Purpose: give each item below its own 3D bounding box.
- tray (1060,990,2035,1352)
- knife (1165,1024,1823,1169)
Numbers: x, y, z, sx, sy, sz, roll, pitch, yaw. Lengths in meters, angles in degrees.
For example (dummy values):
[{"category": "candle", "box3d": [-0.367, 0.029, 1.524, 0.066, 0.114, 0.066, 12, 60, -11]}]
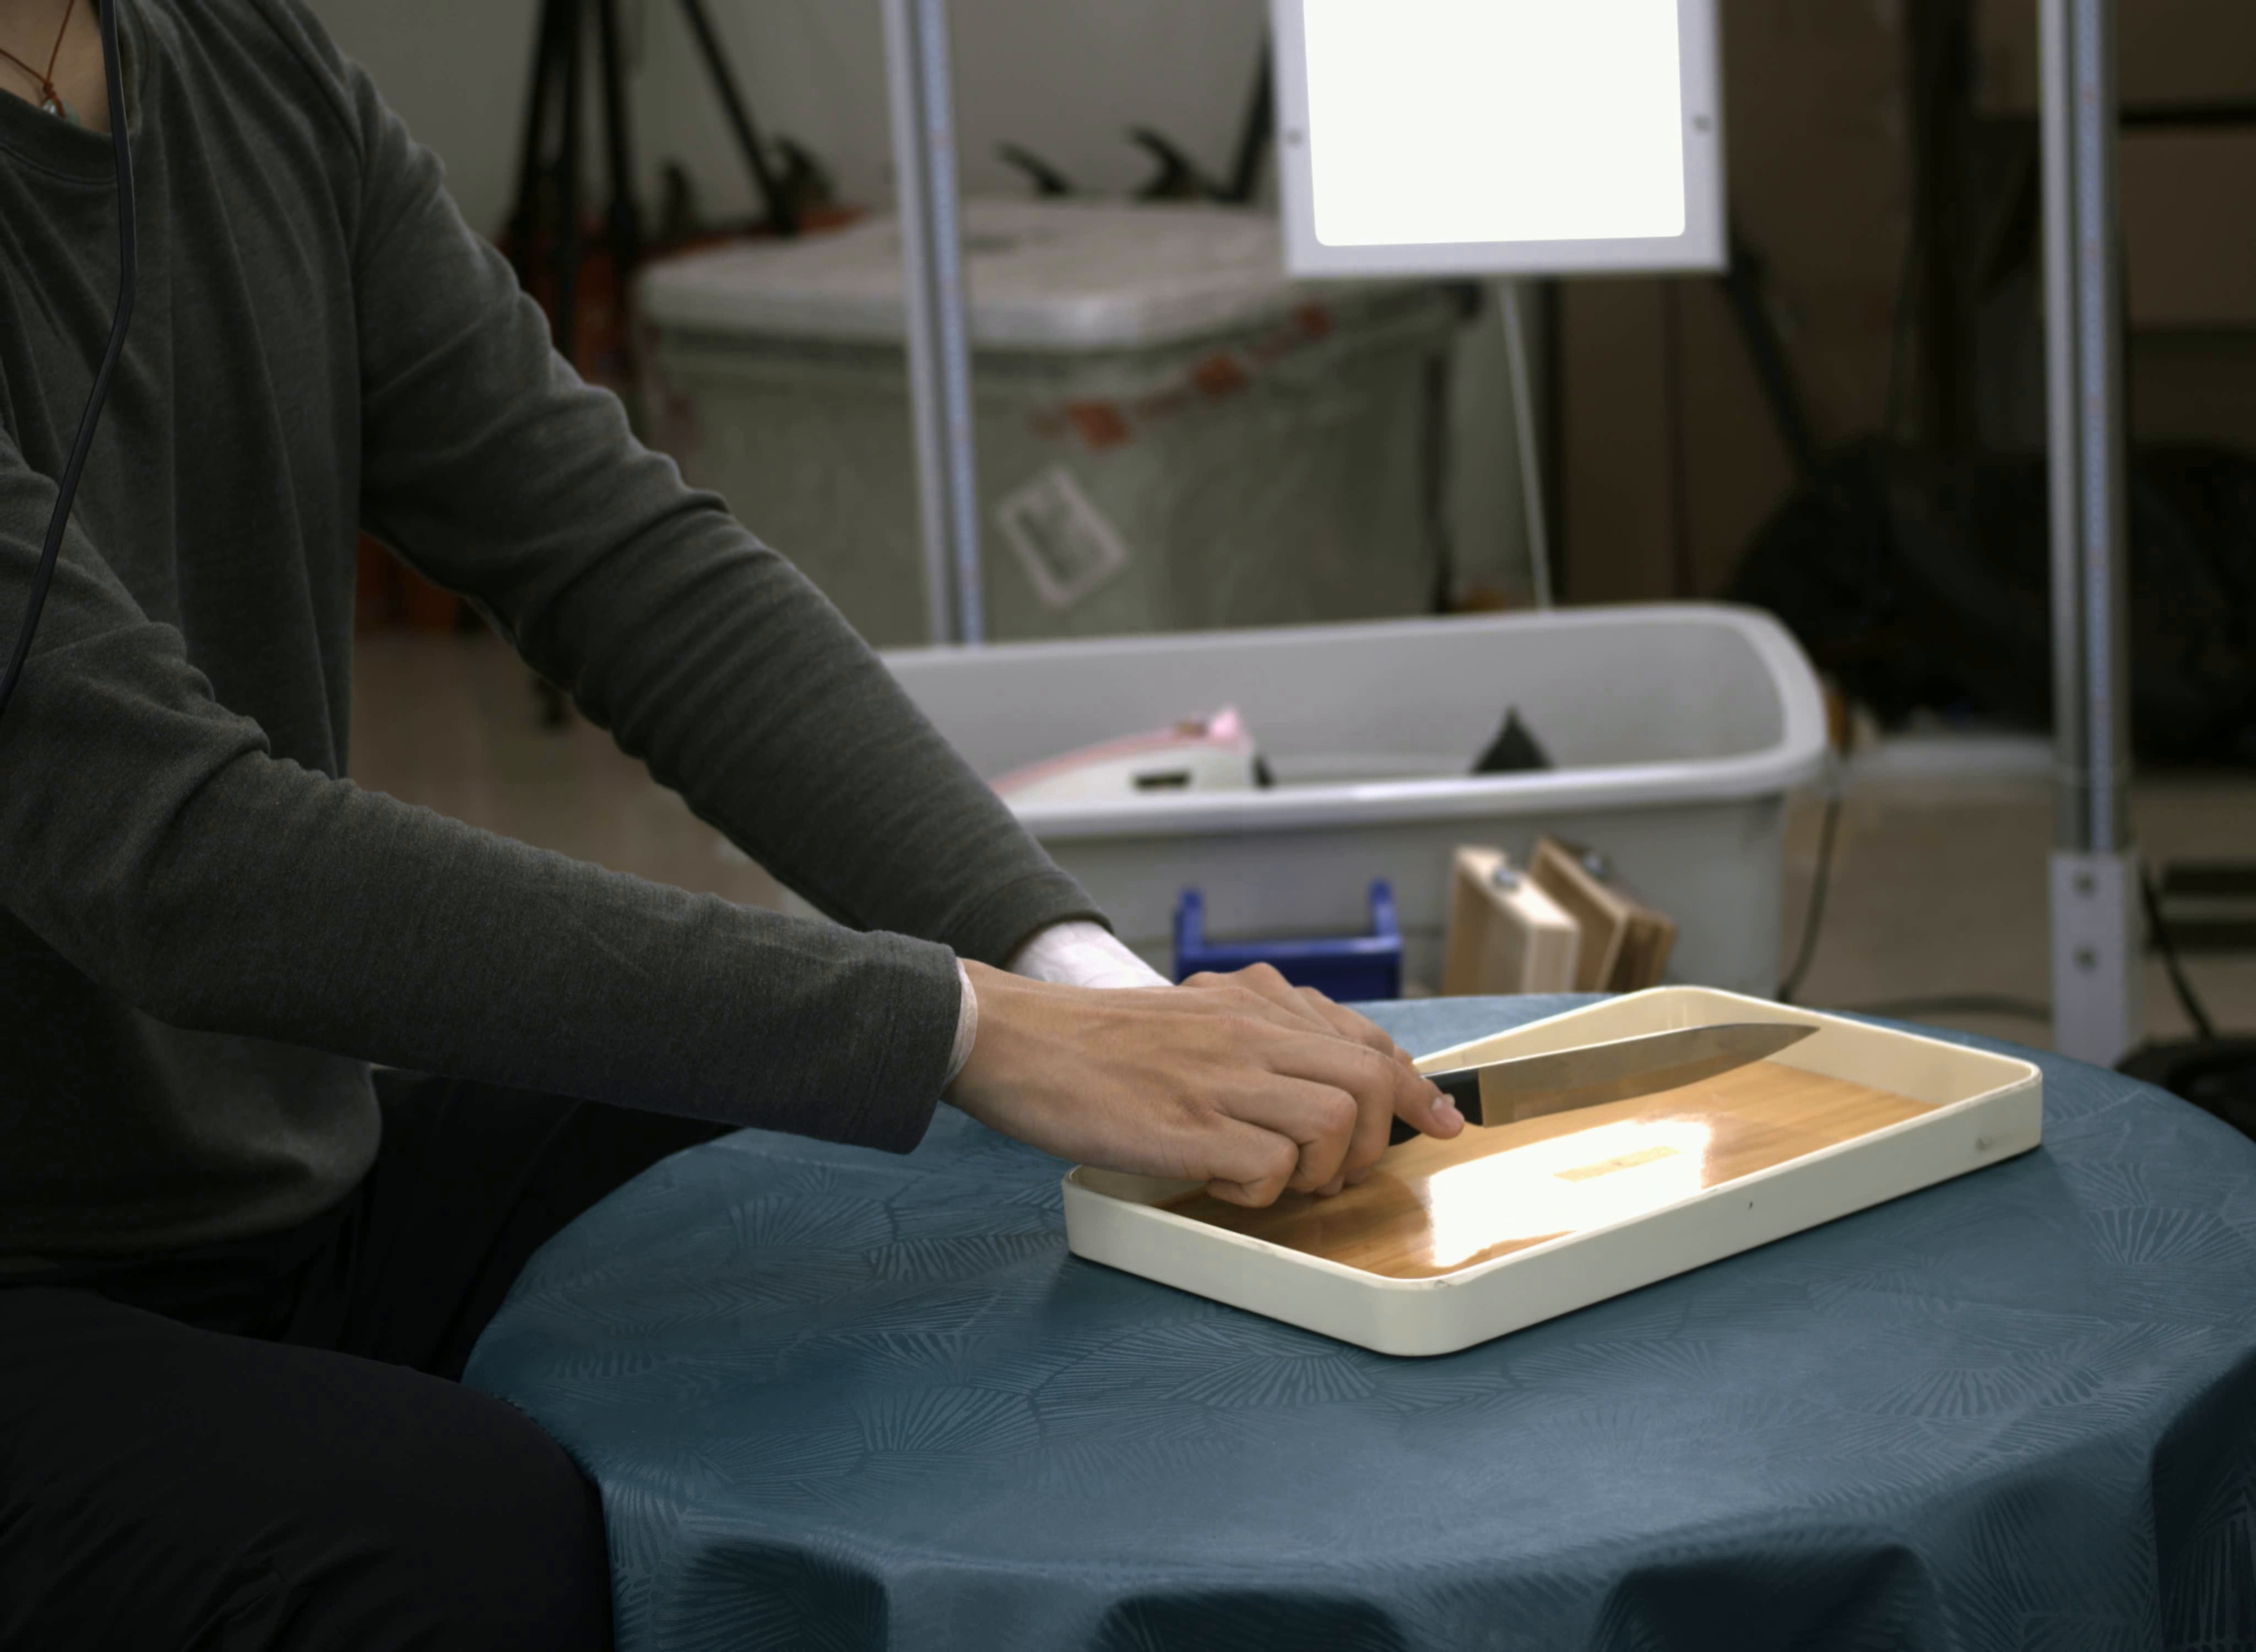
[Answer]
[{"category": "tray", "box3d": [0.145, 0.112, 1.854, 0.293, 0.027, 0.195, -15, 16, -34]}, {"category": "knife", "box3d": [0.125, 0.086, 1.843, 0.235, 0.024, 0.016, -9, 10, -13]}]
